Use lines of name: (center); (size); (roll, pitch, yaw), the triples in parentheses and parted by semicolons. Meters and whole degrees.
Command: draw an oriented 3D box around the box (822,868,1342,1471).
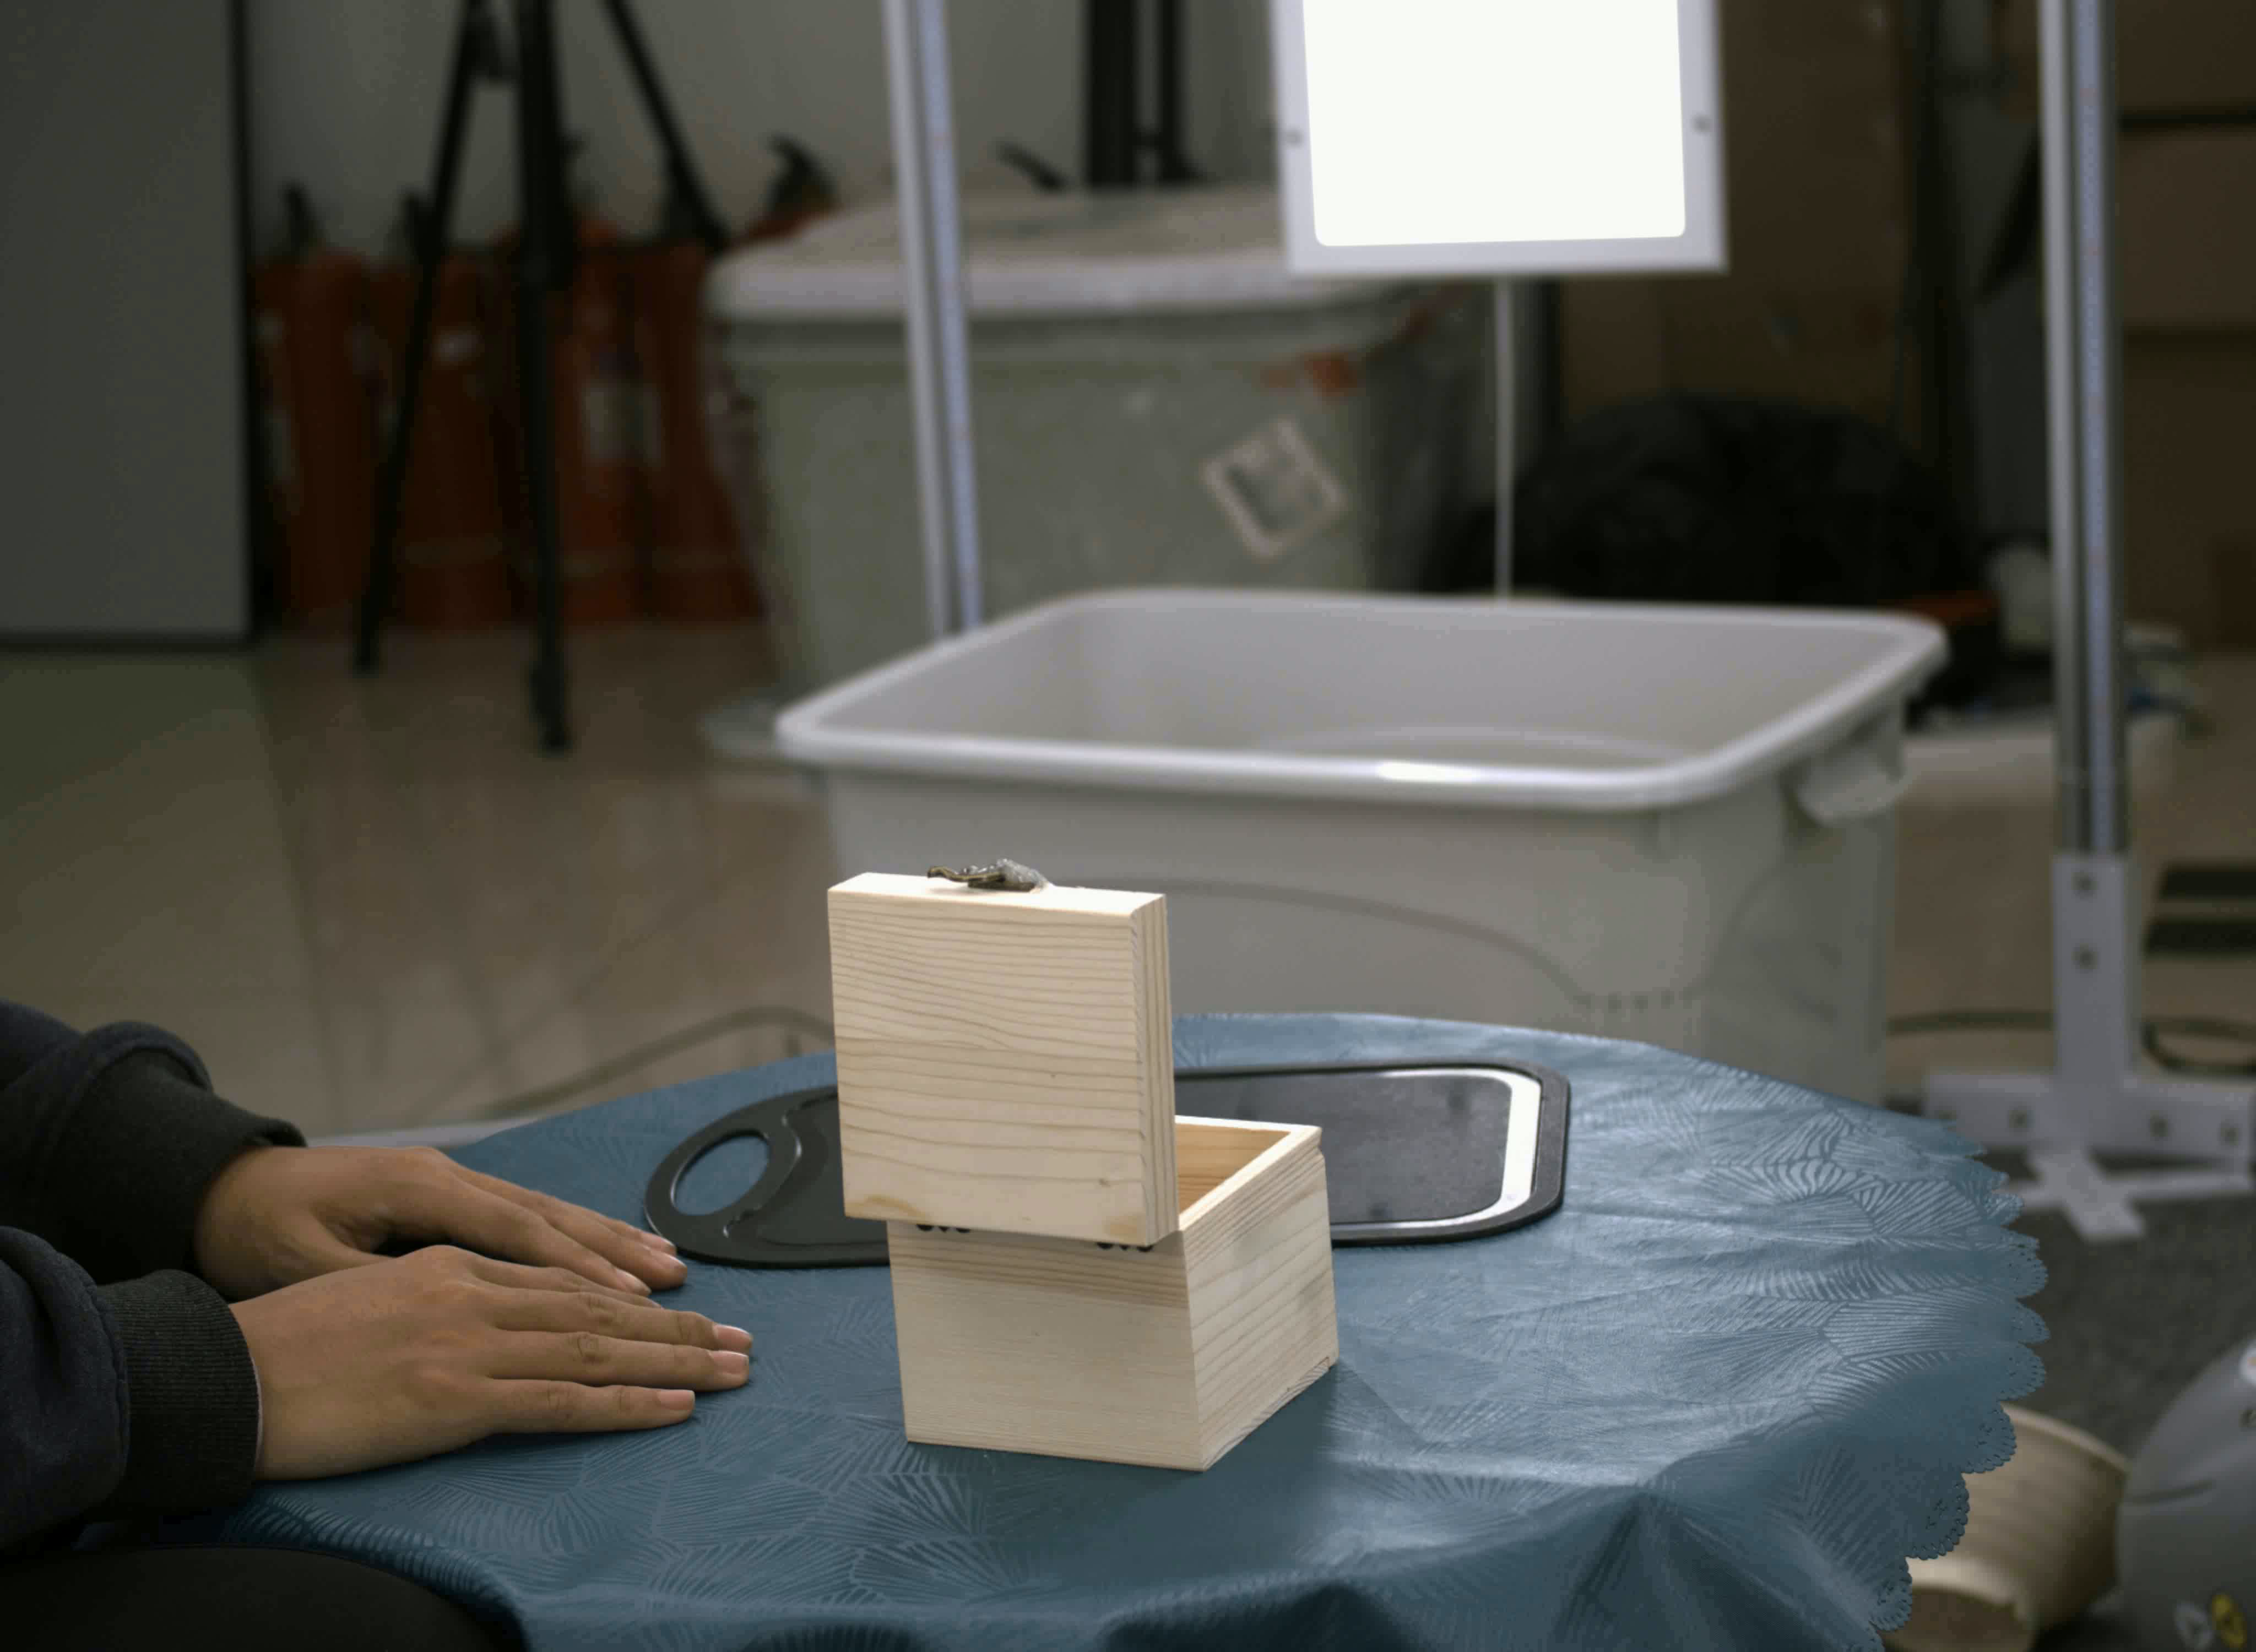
box: (-0.011, 0.090, 1.660); (0.104, 0.185, 0.131); (3, 17, 27)

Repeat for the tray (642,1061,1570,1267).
tray: (-0.009, 0.116, 1.930); (0.327, 0.010, 0.209); (-3, 14, 9)
